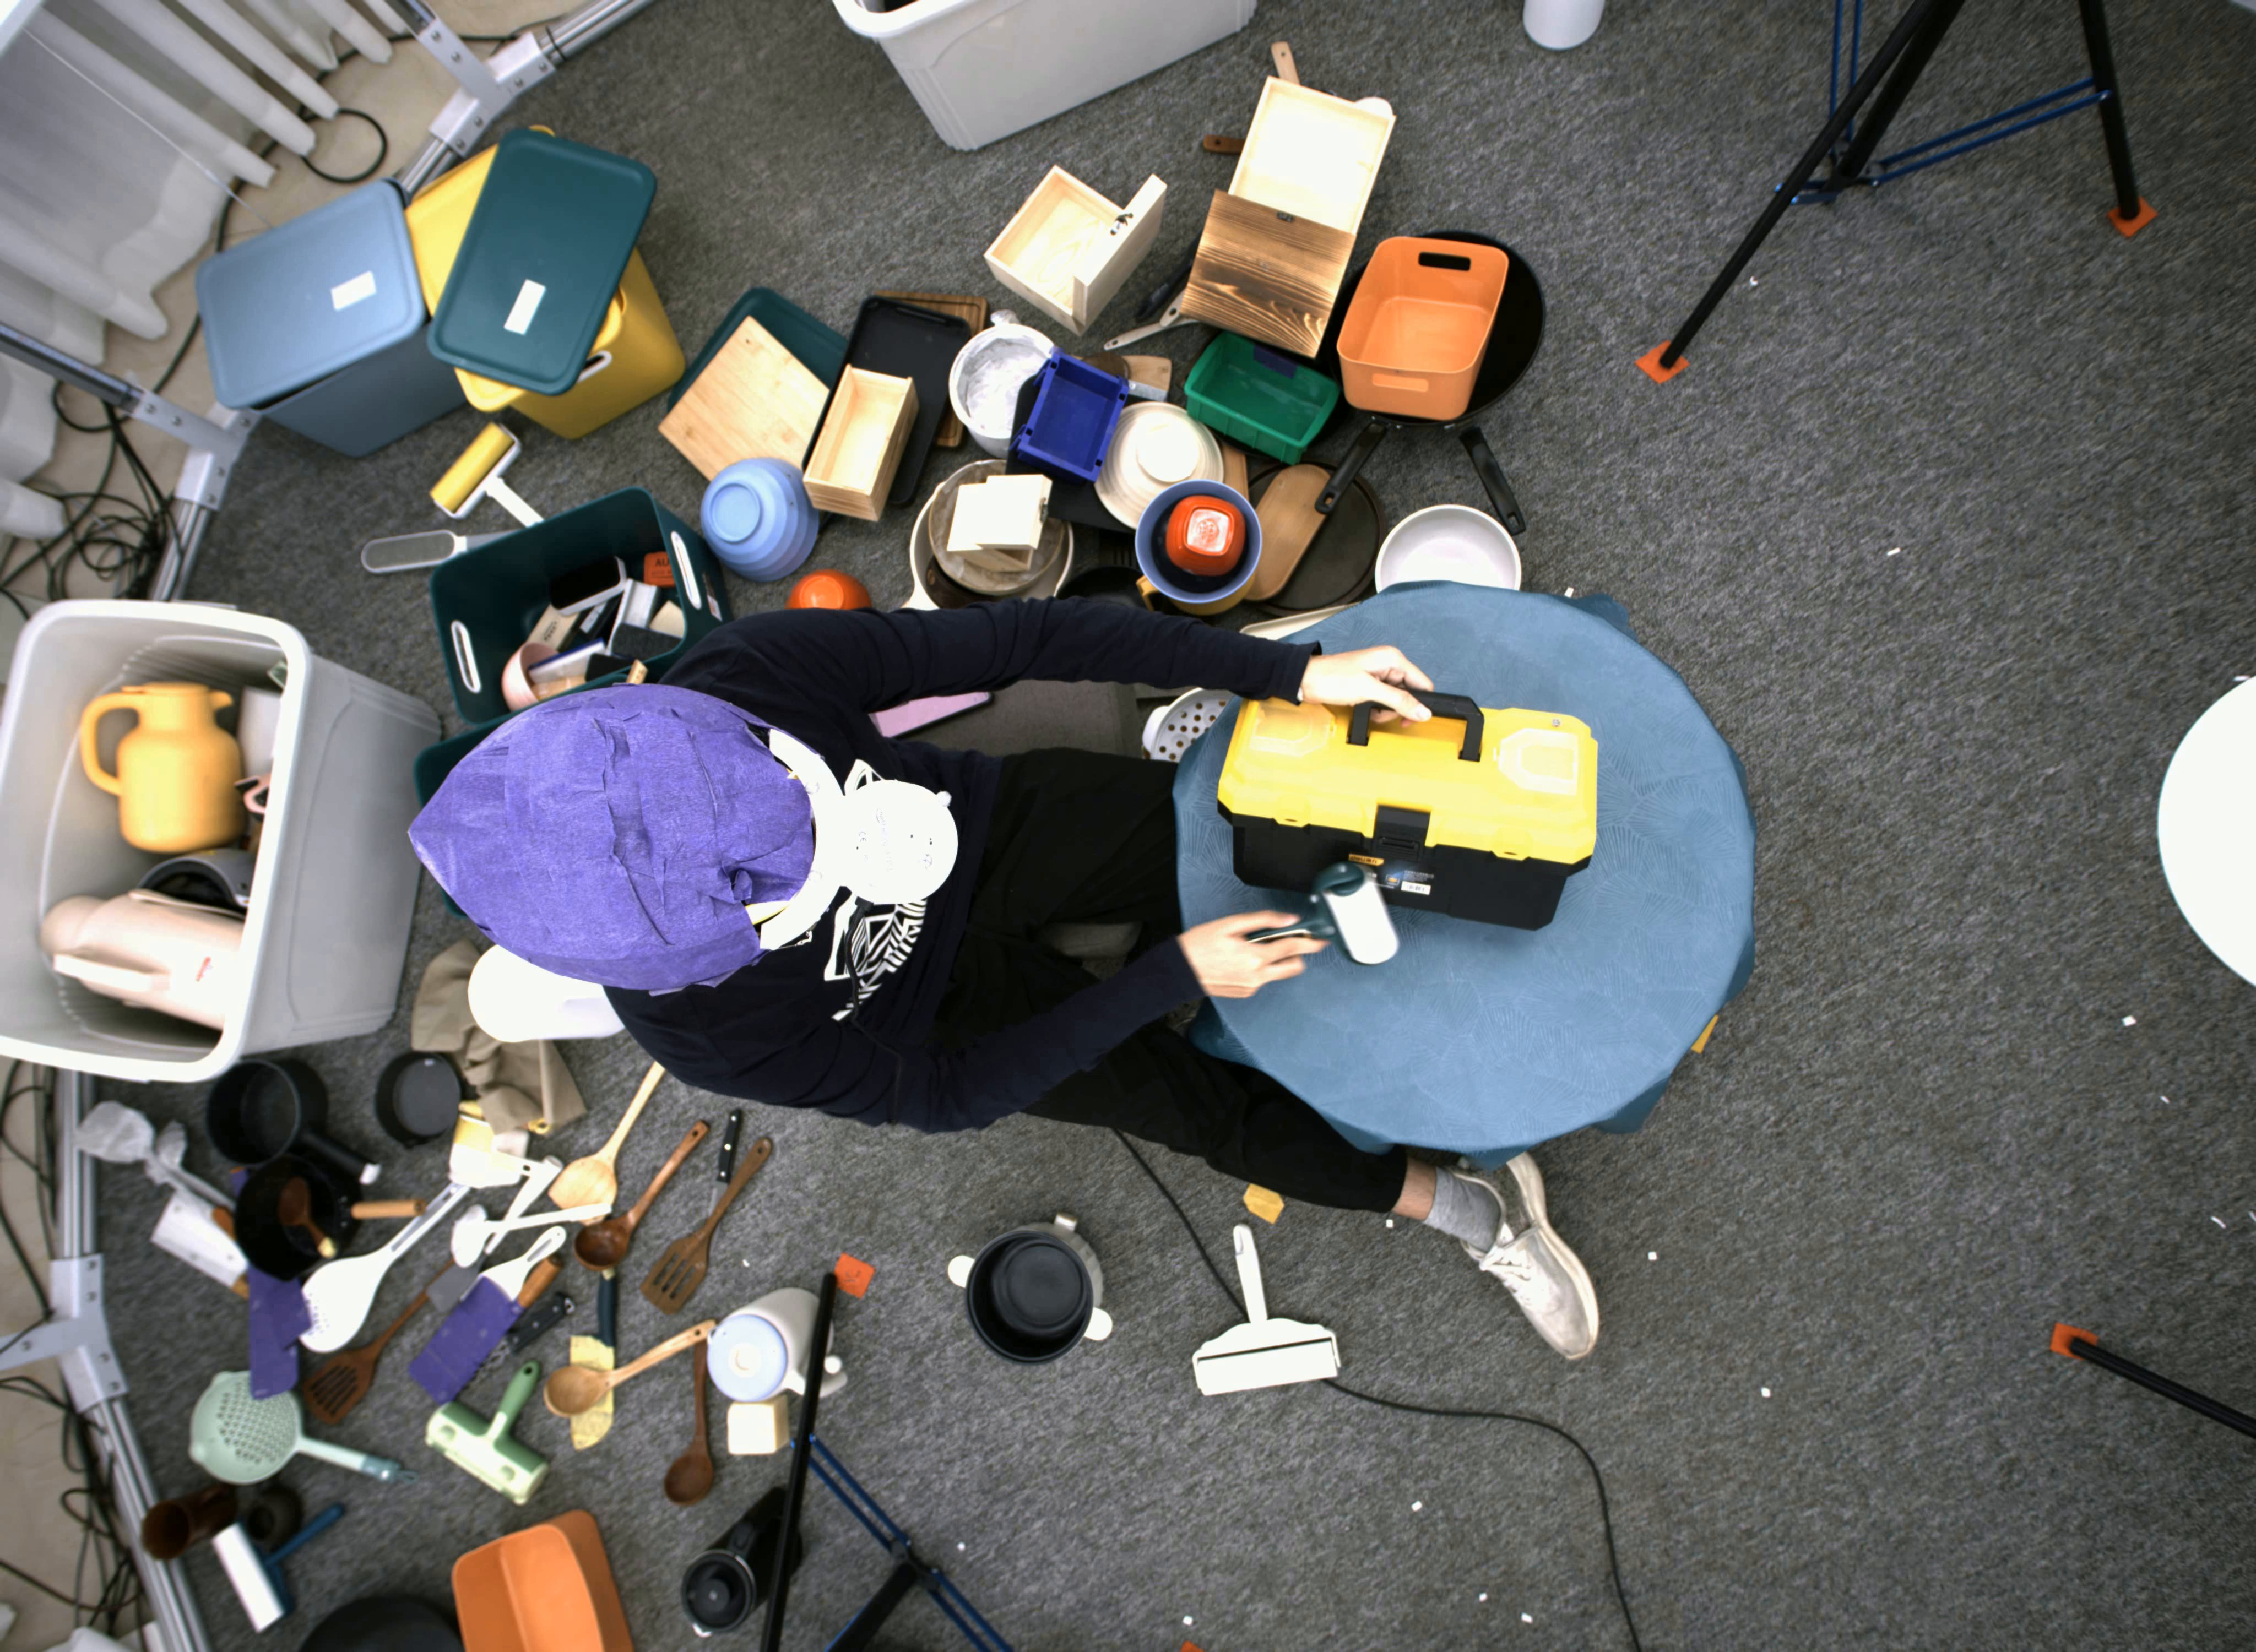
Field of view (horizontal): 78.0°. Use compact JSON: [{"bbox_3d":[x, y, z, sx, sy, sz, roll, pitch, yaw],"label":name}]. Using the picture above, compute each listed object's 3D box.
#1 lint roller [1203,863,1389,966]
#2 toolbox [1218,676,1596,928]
[{"bbox_3d":[0.161,0.112,1.379,0.181,0.136,0.047,-23,41,11],"label":"lint roller"},{"bbox_3d":[0.271,-0.022,1.357,0.352,0.177,0.176,8,48,11],"label":"toolbox"}]
